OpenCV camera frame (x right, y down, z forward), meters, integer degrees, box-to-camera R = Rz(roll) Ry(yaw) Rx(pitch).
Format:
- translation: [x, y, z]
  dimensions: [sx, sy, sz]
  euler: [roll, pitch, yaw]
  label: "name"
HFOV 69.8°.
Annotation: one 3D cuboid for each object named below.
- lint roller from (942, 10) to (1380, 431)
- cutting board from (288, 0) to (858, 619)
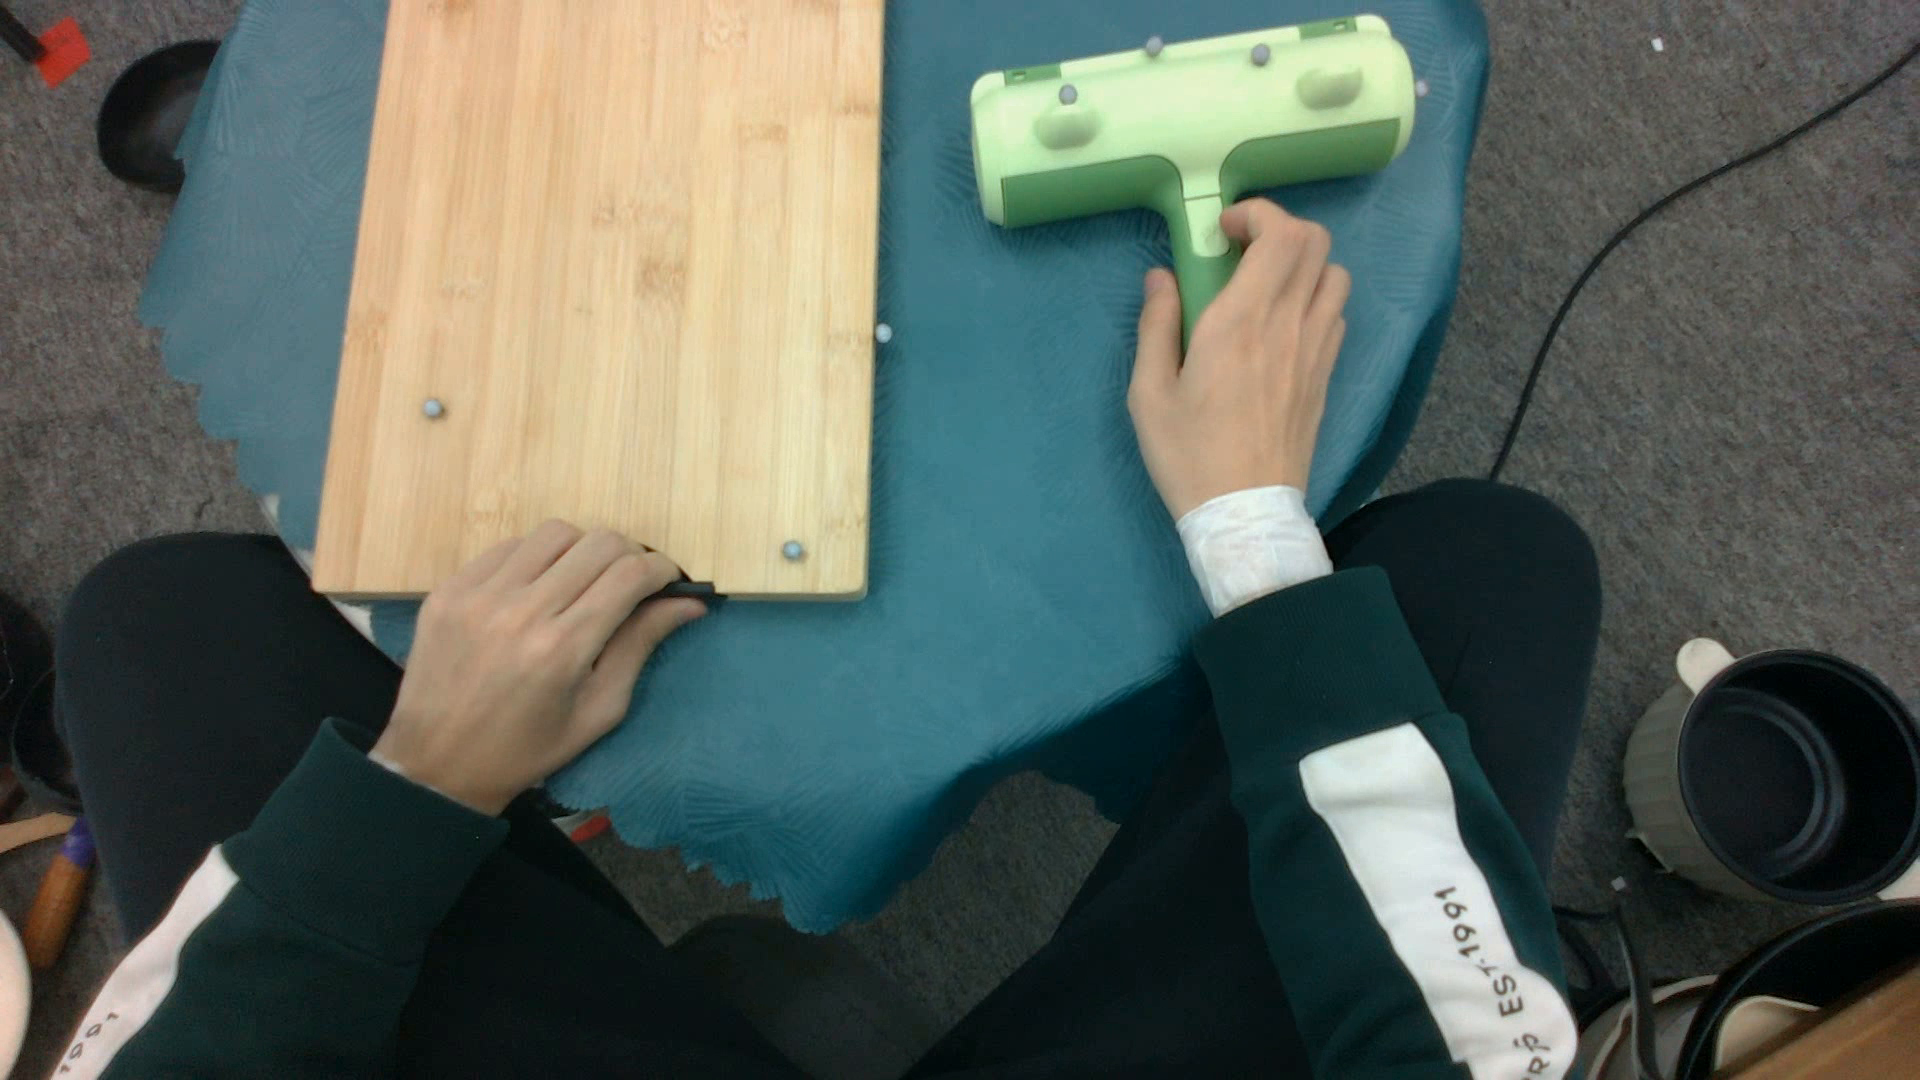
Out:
- translation: [0.101, -0.145, 0.614]
  dimensions: [0.198, 0.082, 0.184]
  euler: [-9, 73, -1]
  label: "lint roller"
- translation: [-0.171, -0.135, 0.645]
  dimensions: [0.251, 0.023, 0.349]
  euler: [-2, 75, 1]
  label: "cutting board"
